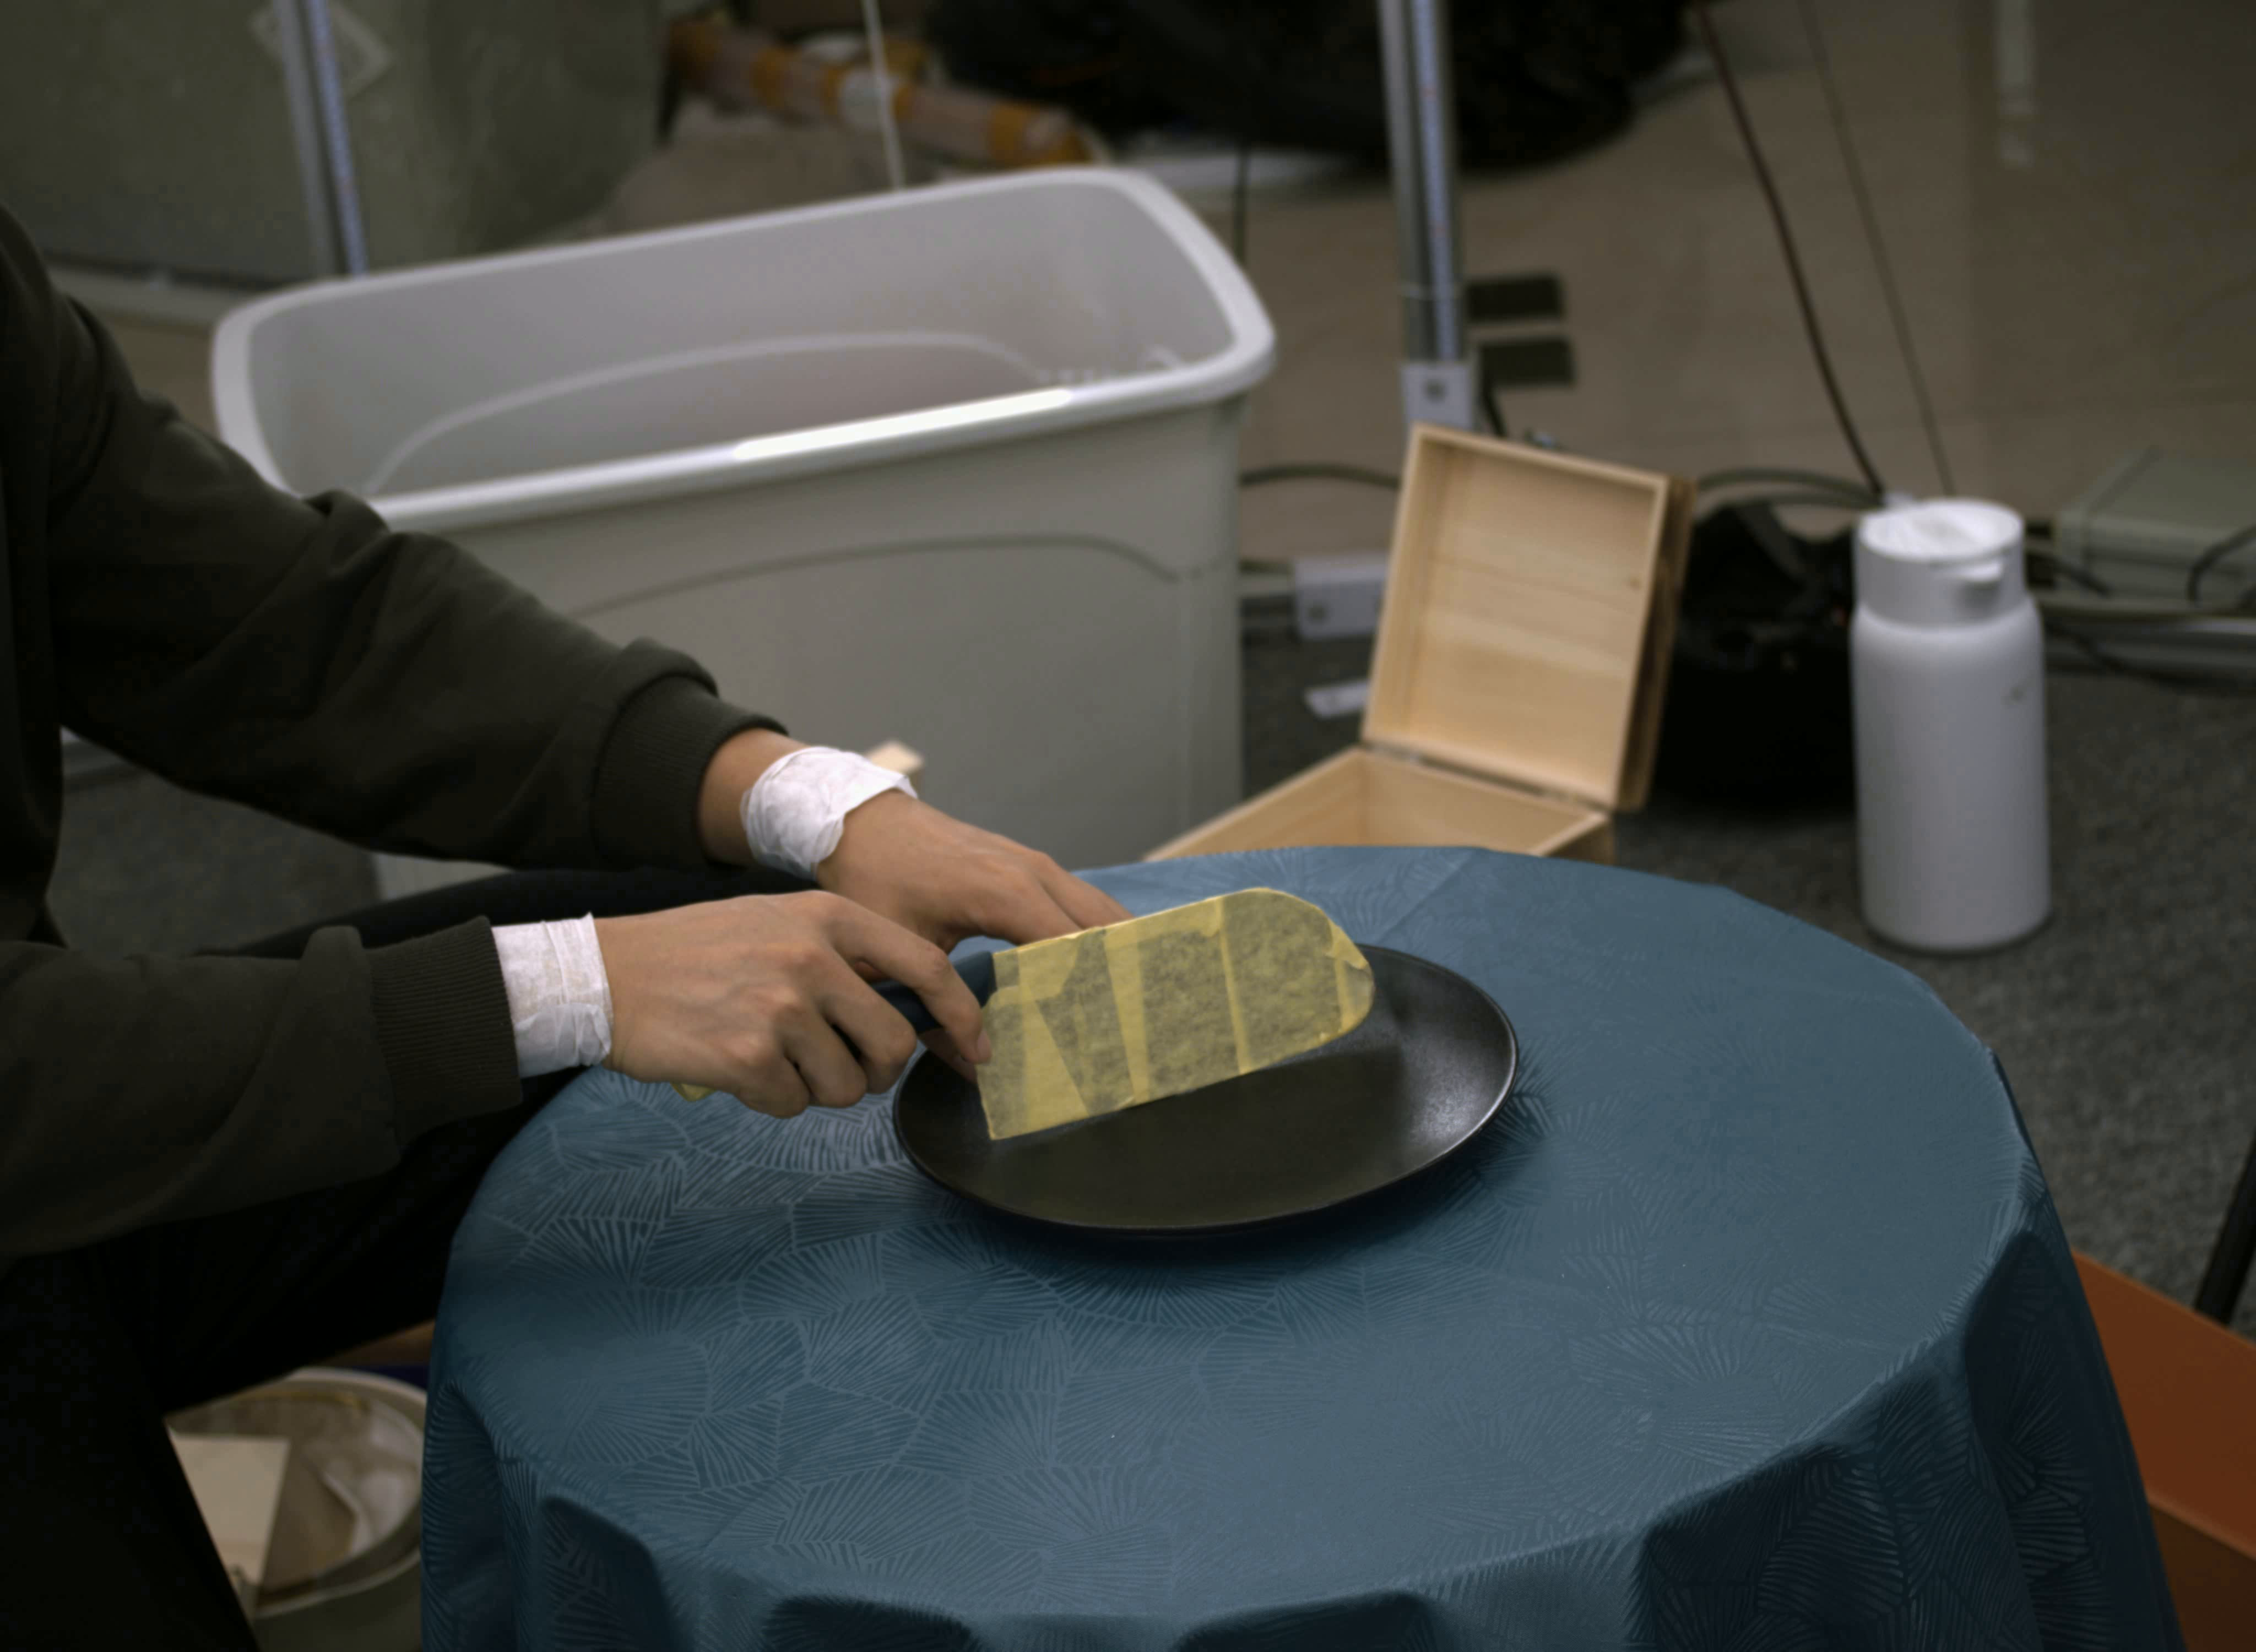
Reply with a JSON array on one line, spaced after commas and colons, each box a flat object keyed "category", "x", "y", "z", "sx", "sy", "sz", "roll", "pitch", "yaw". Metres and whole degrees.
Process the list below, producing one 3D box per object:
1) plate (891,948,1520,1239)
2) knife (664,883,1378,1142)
[{"category": "plate", "x": 0.031, "y": 0.106, "z": 2.187, "sx": 0.244, "sy": 0.024, "sz": 0.241, "roll": -5, "pitch": 25, "yaw": 3}, {"category": "knife", "x": -0.037, "y": 0.079, "z": 2.176, "sx": 0.288, "sy": 0.082, "sz": 0.027, "roll": -11, "pitch": 12, "yaw": -17}]
